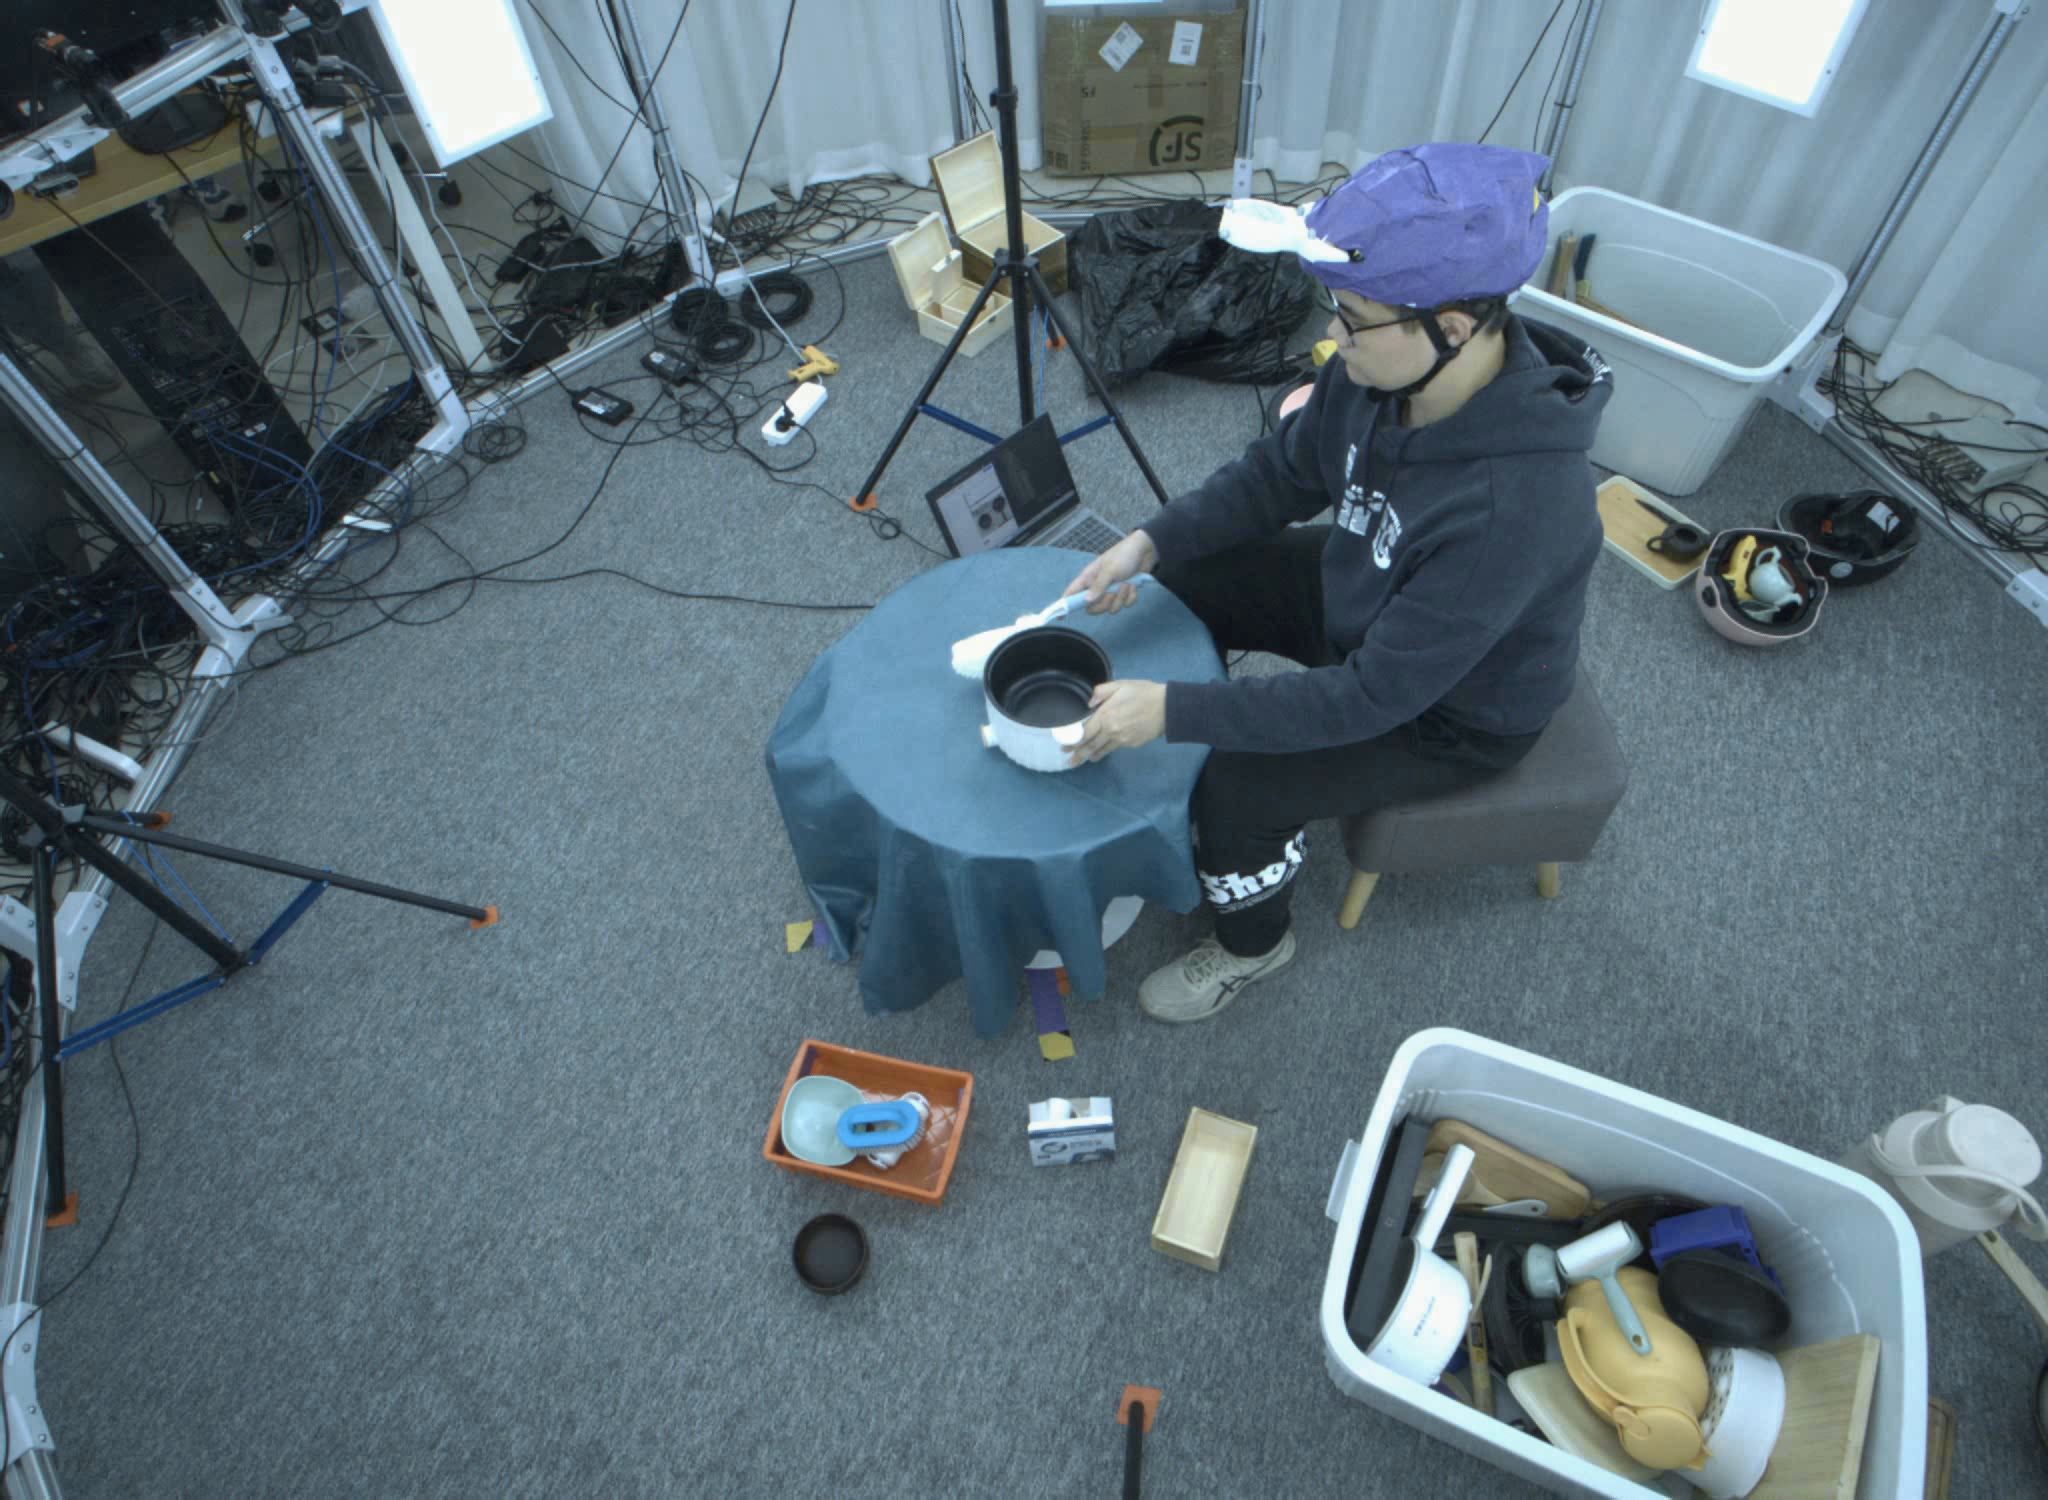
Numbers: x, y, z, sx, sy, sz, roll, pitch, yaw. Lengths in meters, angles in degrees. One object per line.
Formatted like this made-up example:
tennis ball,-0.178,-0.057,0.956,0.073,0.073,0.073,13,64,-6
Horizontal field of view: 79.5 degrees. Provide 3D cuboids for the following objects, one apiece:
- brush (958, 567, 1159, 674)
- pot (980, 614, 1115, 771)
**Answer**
brush,0.057,-0.184,1.810,0.326,0.083,0.084,-21,92,-3
pot,0.031,-0.064,1.747,0.192,0.144,0.236,-12,54,-10
